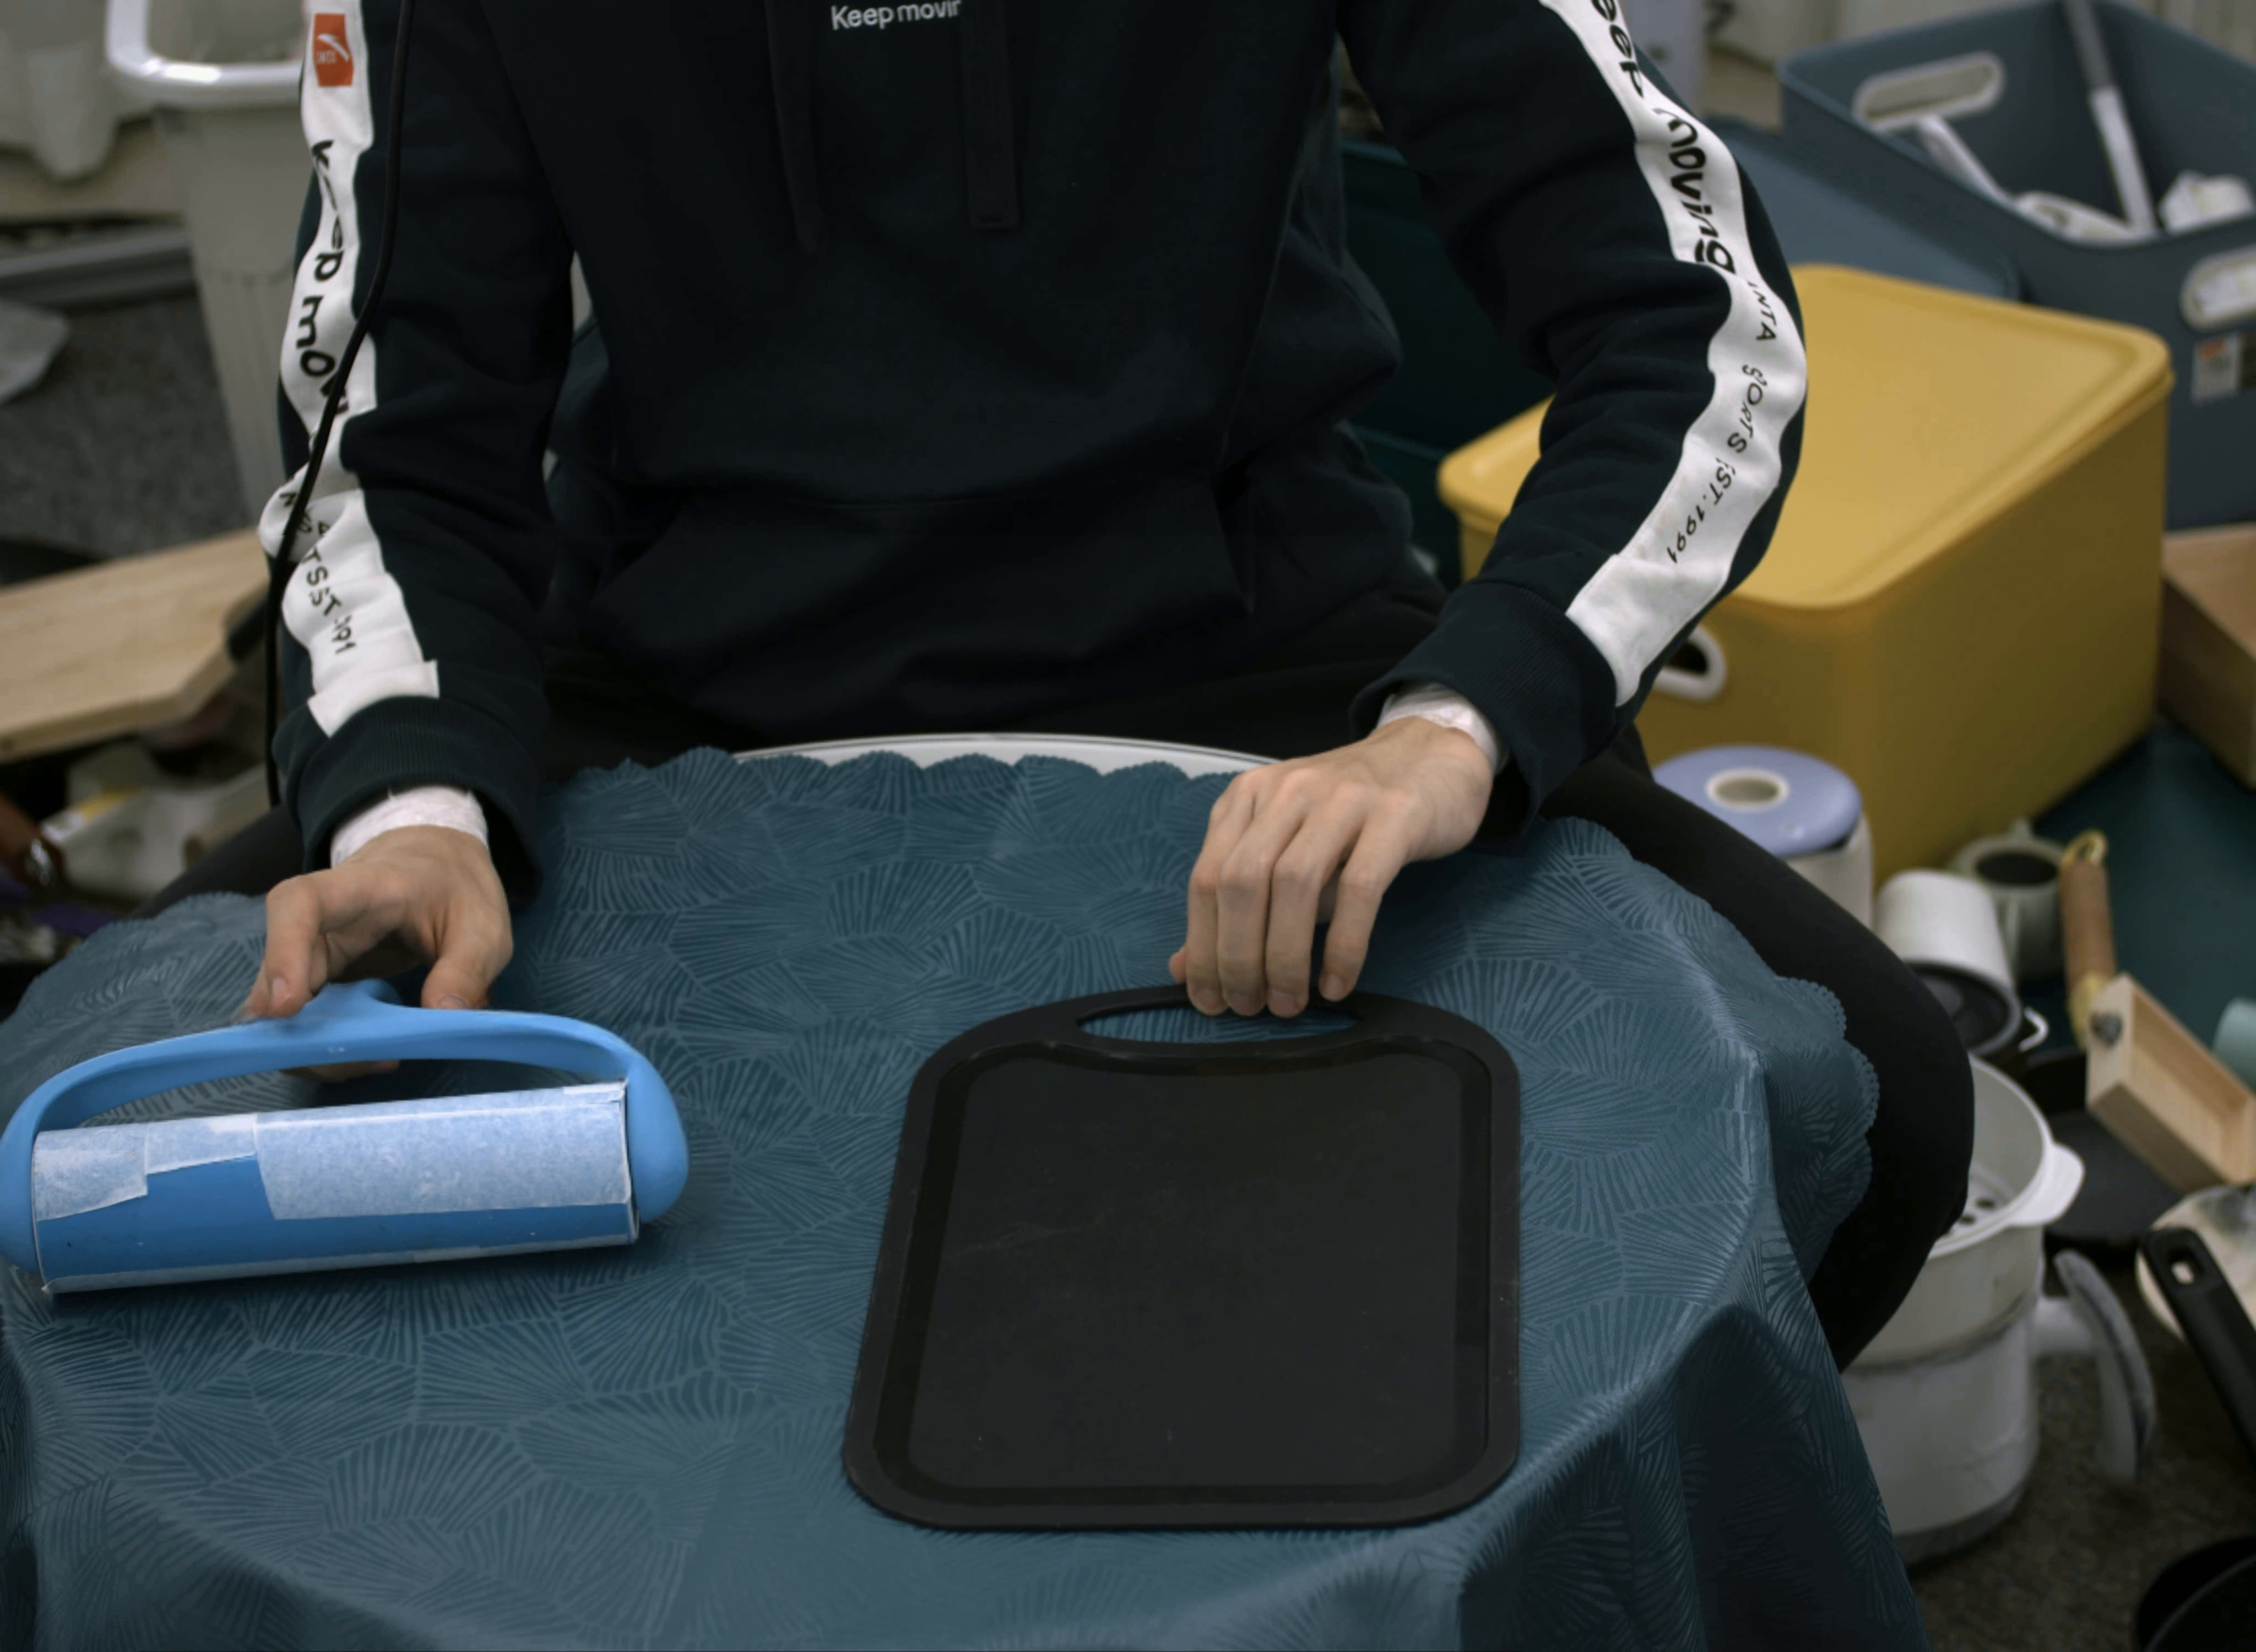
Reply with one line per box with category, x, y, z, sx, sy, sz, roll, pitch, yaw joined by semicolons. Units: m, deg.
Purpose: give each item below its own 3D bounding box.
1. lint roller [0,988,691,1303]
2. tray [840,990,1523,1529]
lint roller;-0.265;0.091;1.885;0.228;0.067;0.183;-7;29;-5
tray;0.022;0.133;1.828;0.210;0.009;0.330;-1;27;5
